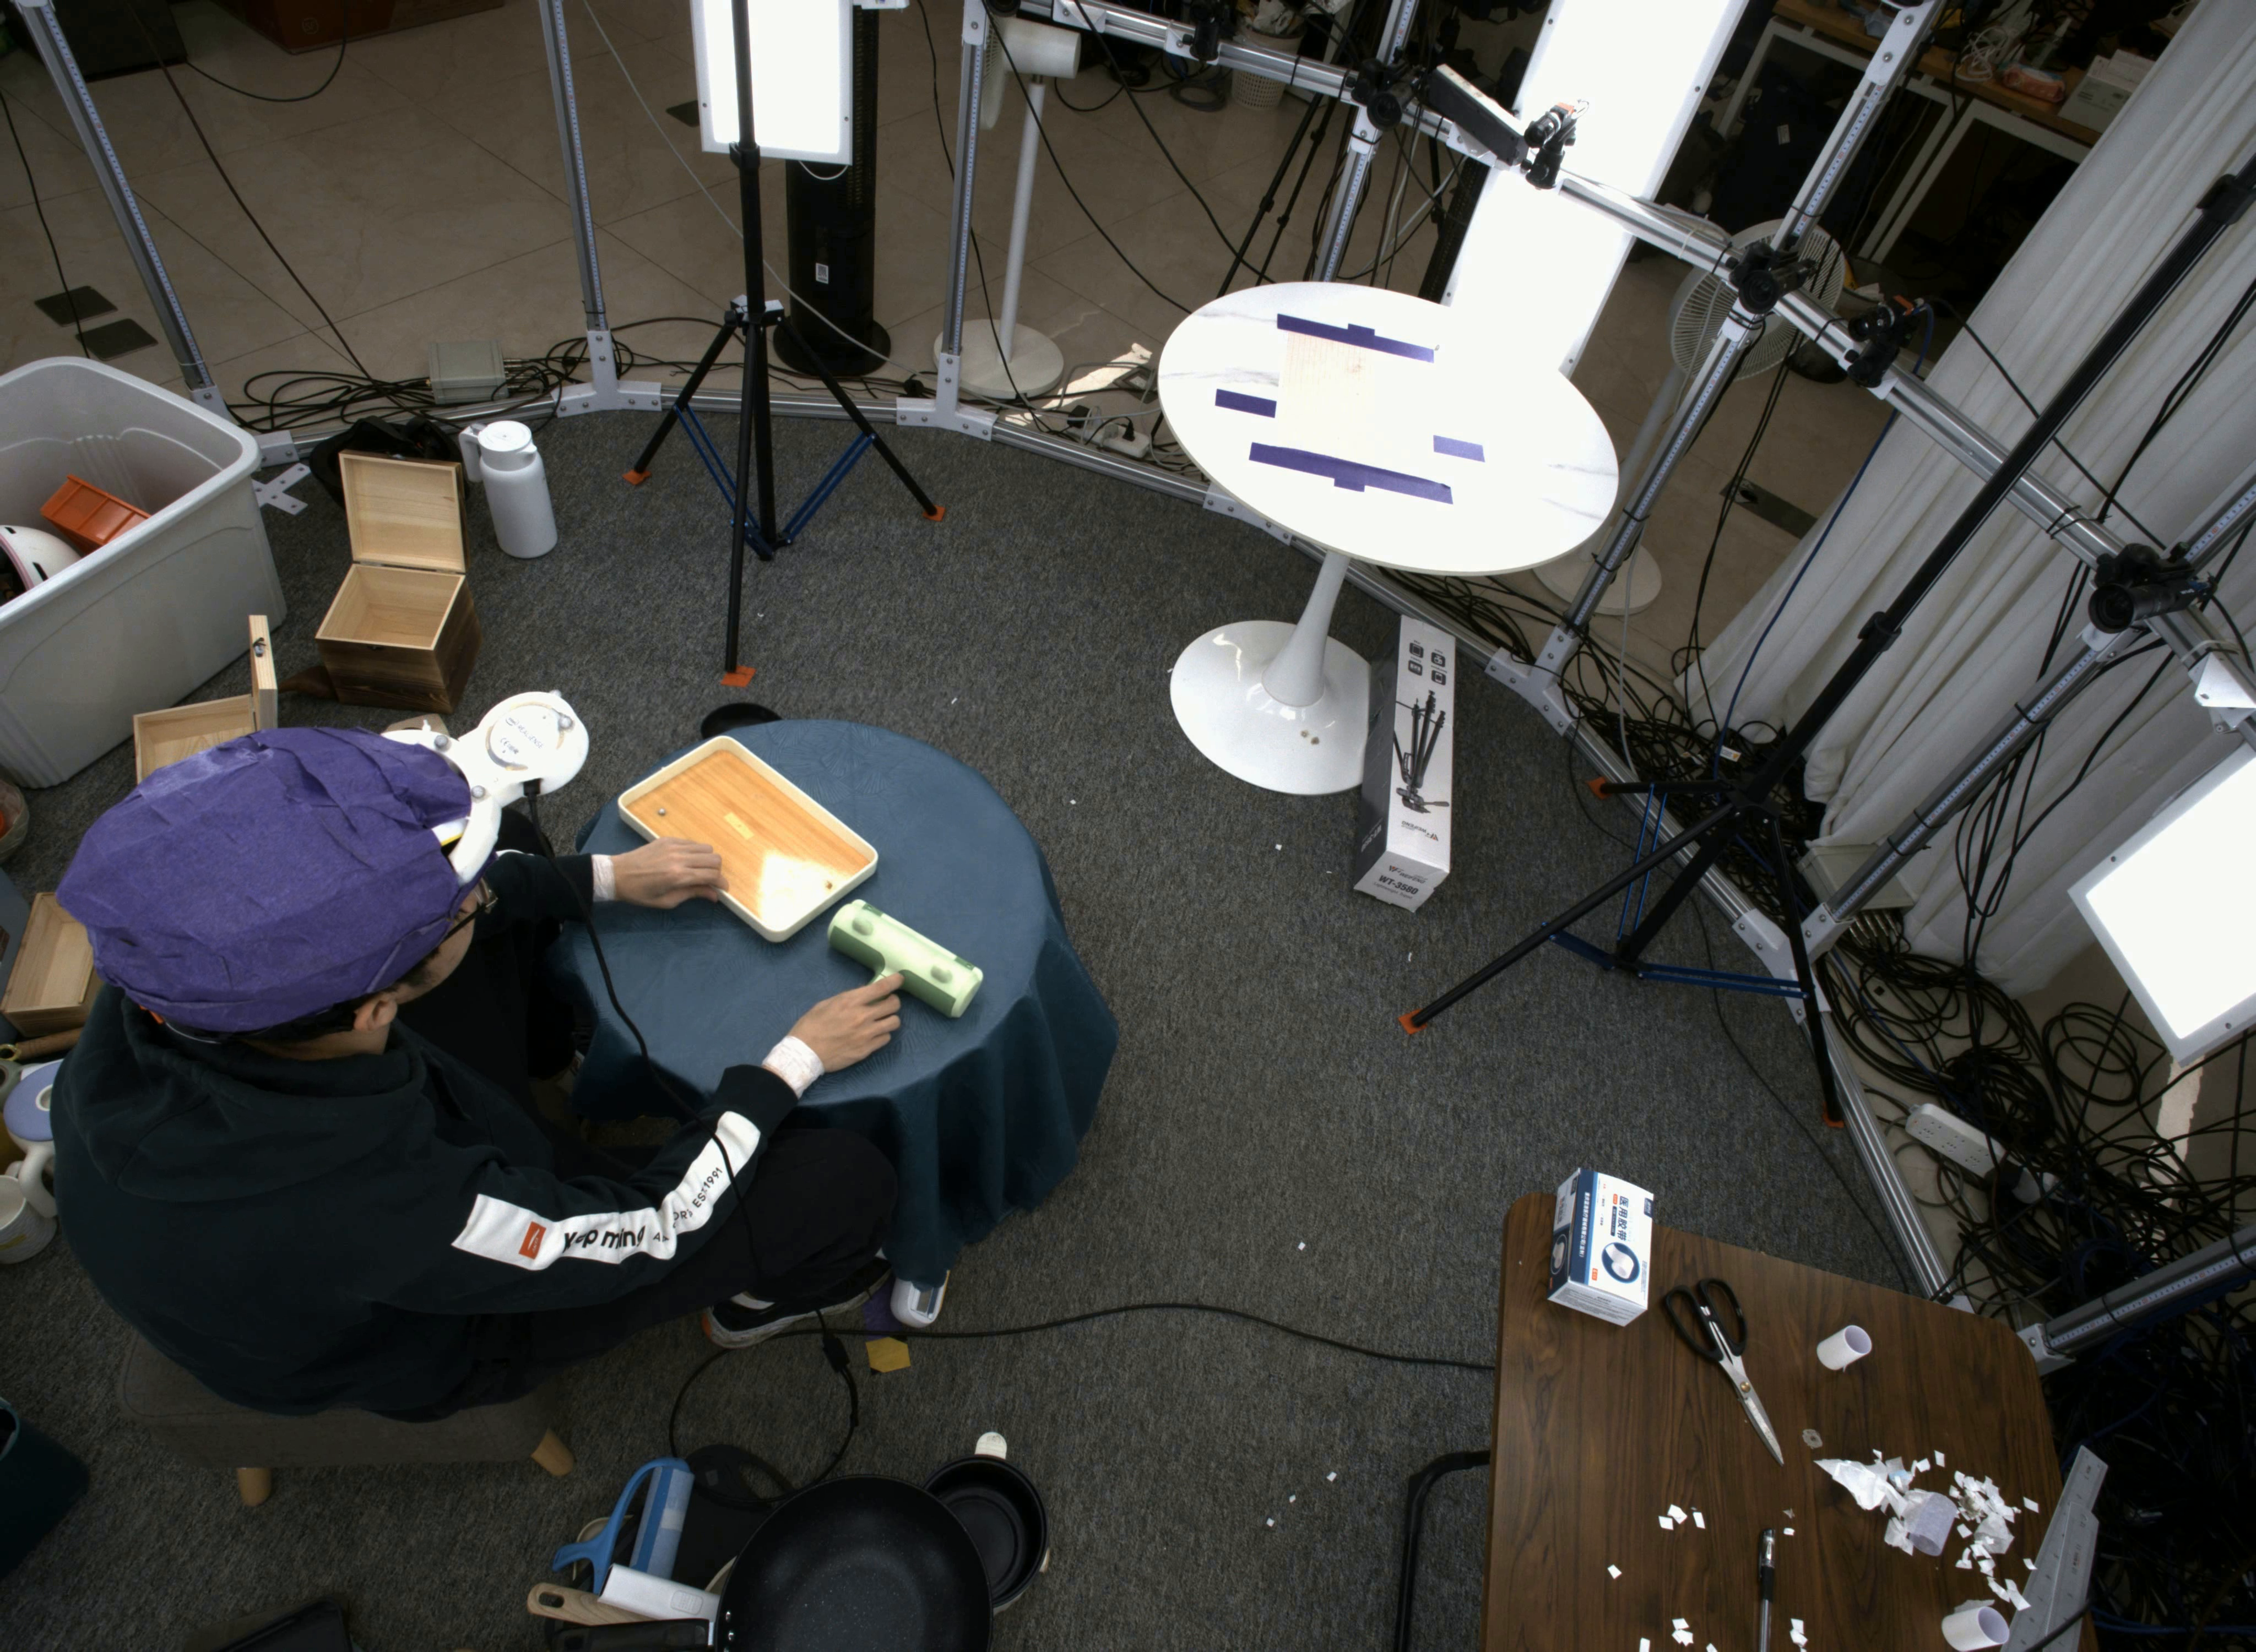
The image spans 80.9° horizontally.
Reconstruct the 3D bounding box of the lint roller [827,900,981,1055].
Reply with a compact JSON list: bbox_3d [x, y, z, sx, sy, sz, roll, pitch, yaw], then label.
[{"bbox_3d":[-0.303,0.191,1.570,0.196,0.084,0.182,30,48,8],"label":"lint roller"}]

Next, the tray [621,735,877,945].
[{"bbox_3d":[-0.493,0.011,1.678,0.294,0.028,0.191,36,50,13],"label":"tray"}]
